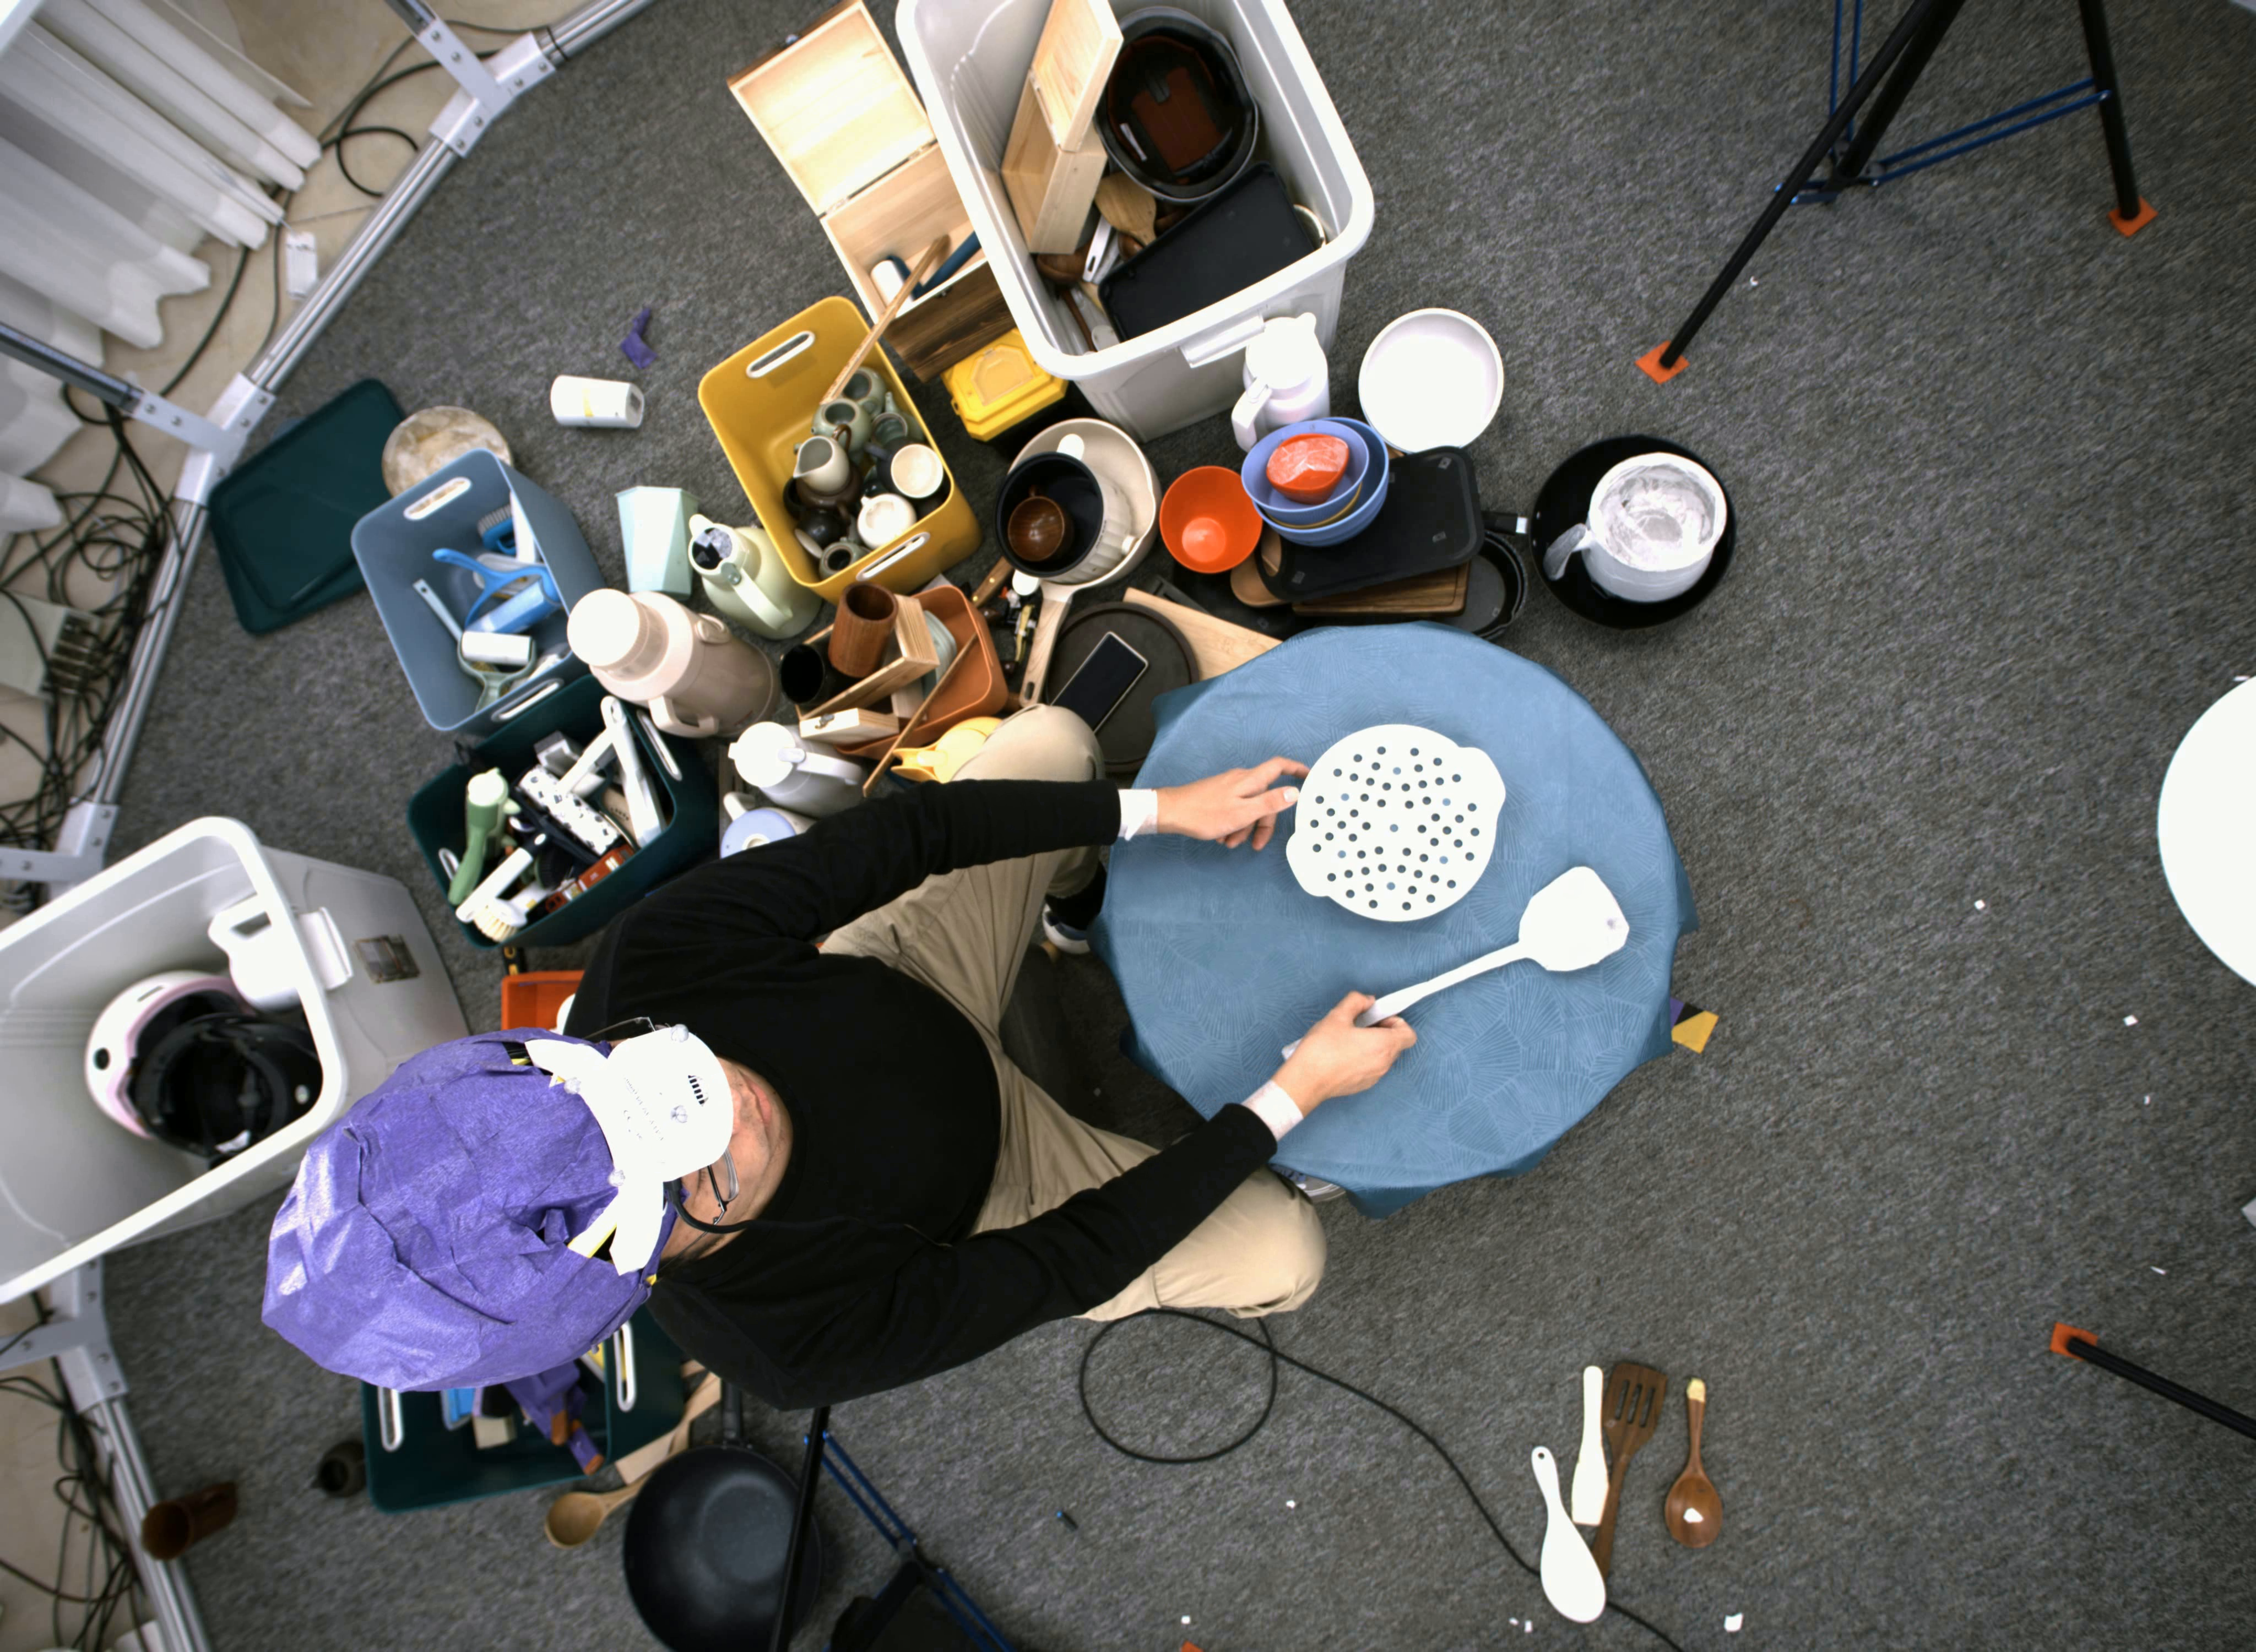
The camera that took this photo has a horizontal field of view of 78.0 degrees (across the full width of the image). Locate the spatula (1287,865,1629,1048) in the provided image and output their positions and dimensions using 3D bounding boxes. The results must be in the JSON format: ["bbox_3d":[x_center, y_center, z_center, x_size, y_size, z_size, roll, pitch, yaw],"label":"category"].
[{"bbox_3d":[0.332,0.150,1.416,0.366,0.045,0.097,-24,67,6],"label":"spatula"}]

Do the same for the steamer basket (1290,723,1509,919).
[{"bbox_3d":[0.281,-0.004,1.427,0.232,0.069,0.200,-27,81,9],"label":"steamer basket"}]
